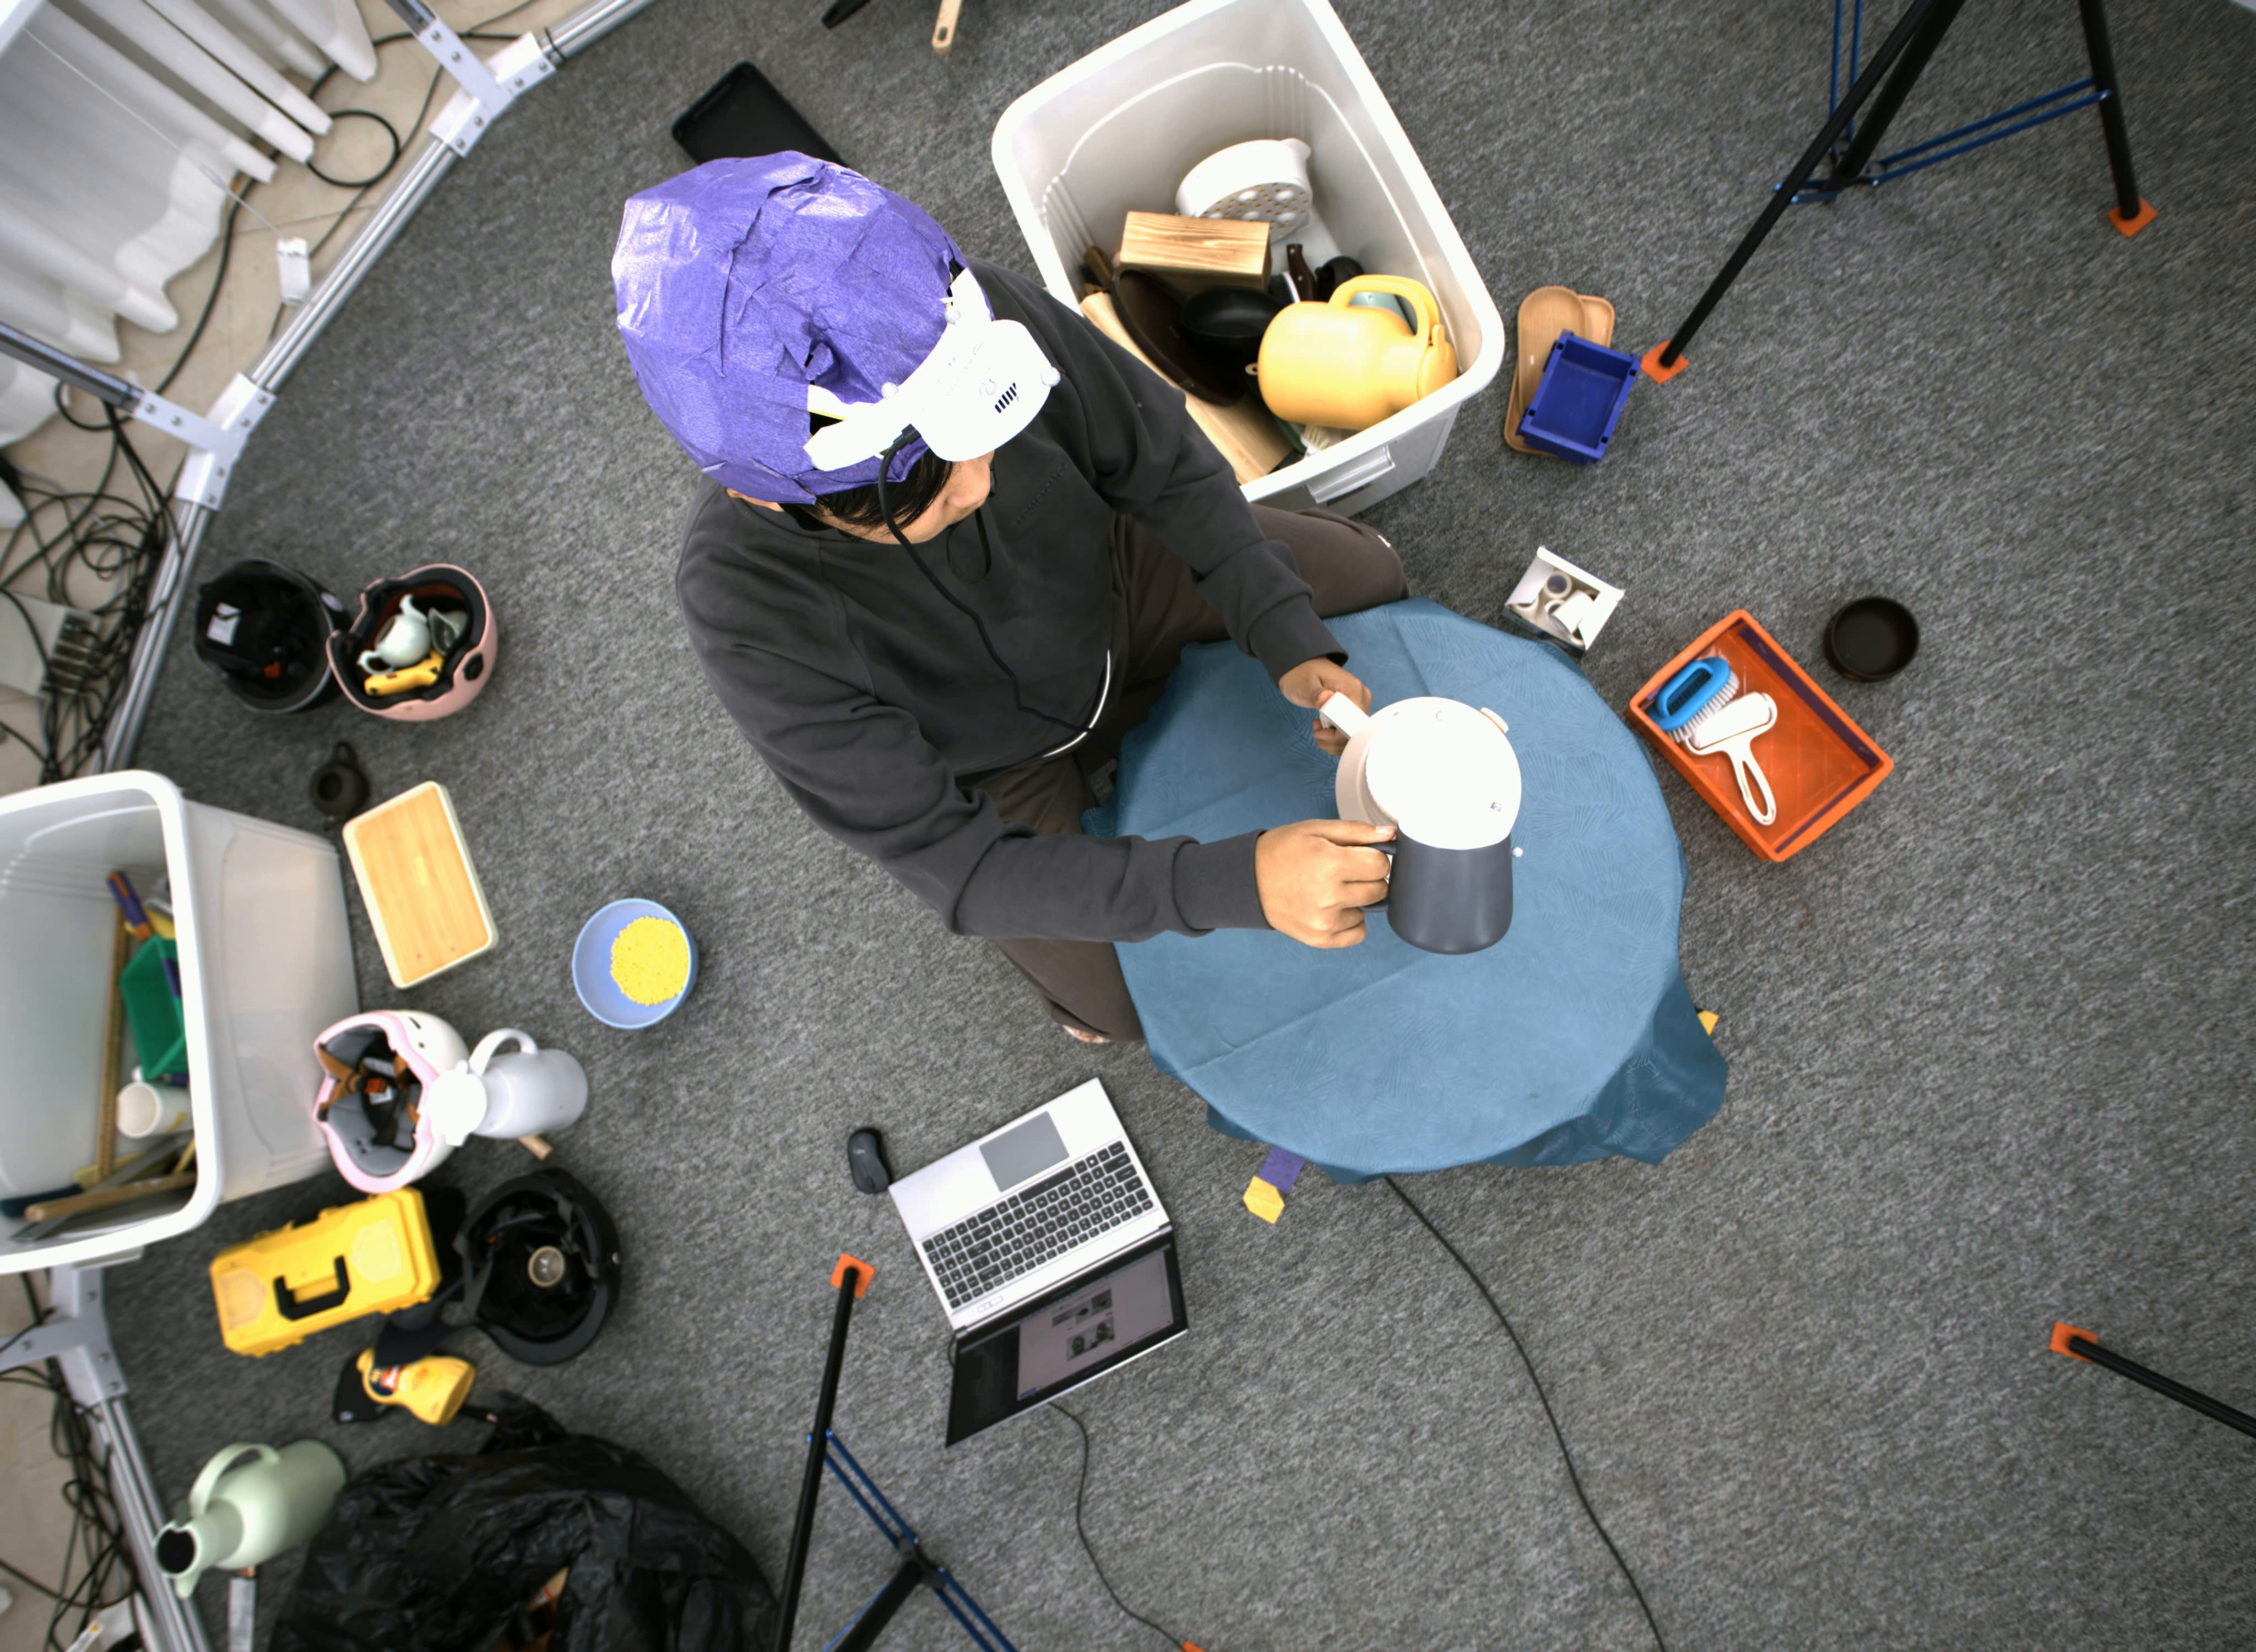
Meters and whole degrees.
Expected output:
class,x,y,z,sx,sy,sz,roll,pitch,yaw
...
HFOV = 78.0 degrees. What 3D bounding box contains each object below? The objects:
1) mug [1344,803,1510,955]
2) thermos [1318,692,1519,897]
class,x,y,z,sx,sy,sz,roll,pitch,yaw
mug,0.222,0.038,1.025,0.124,0.091,0.092,0,118,10
thermos,0.260,-0.033,1.268,0.206,0.407,0.176,43,93,11
